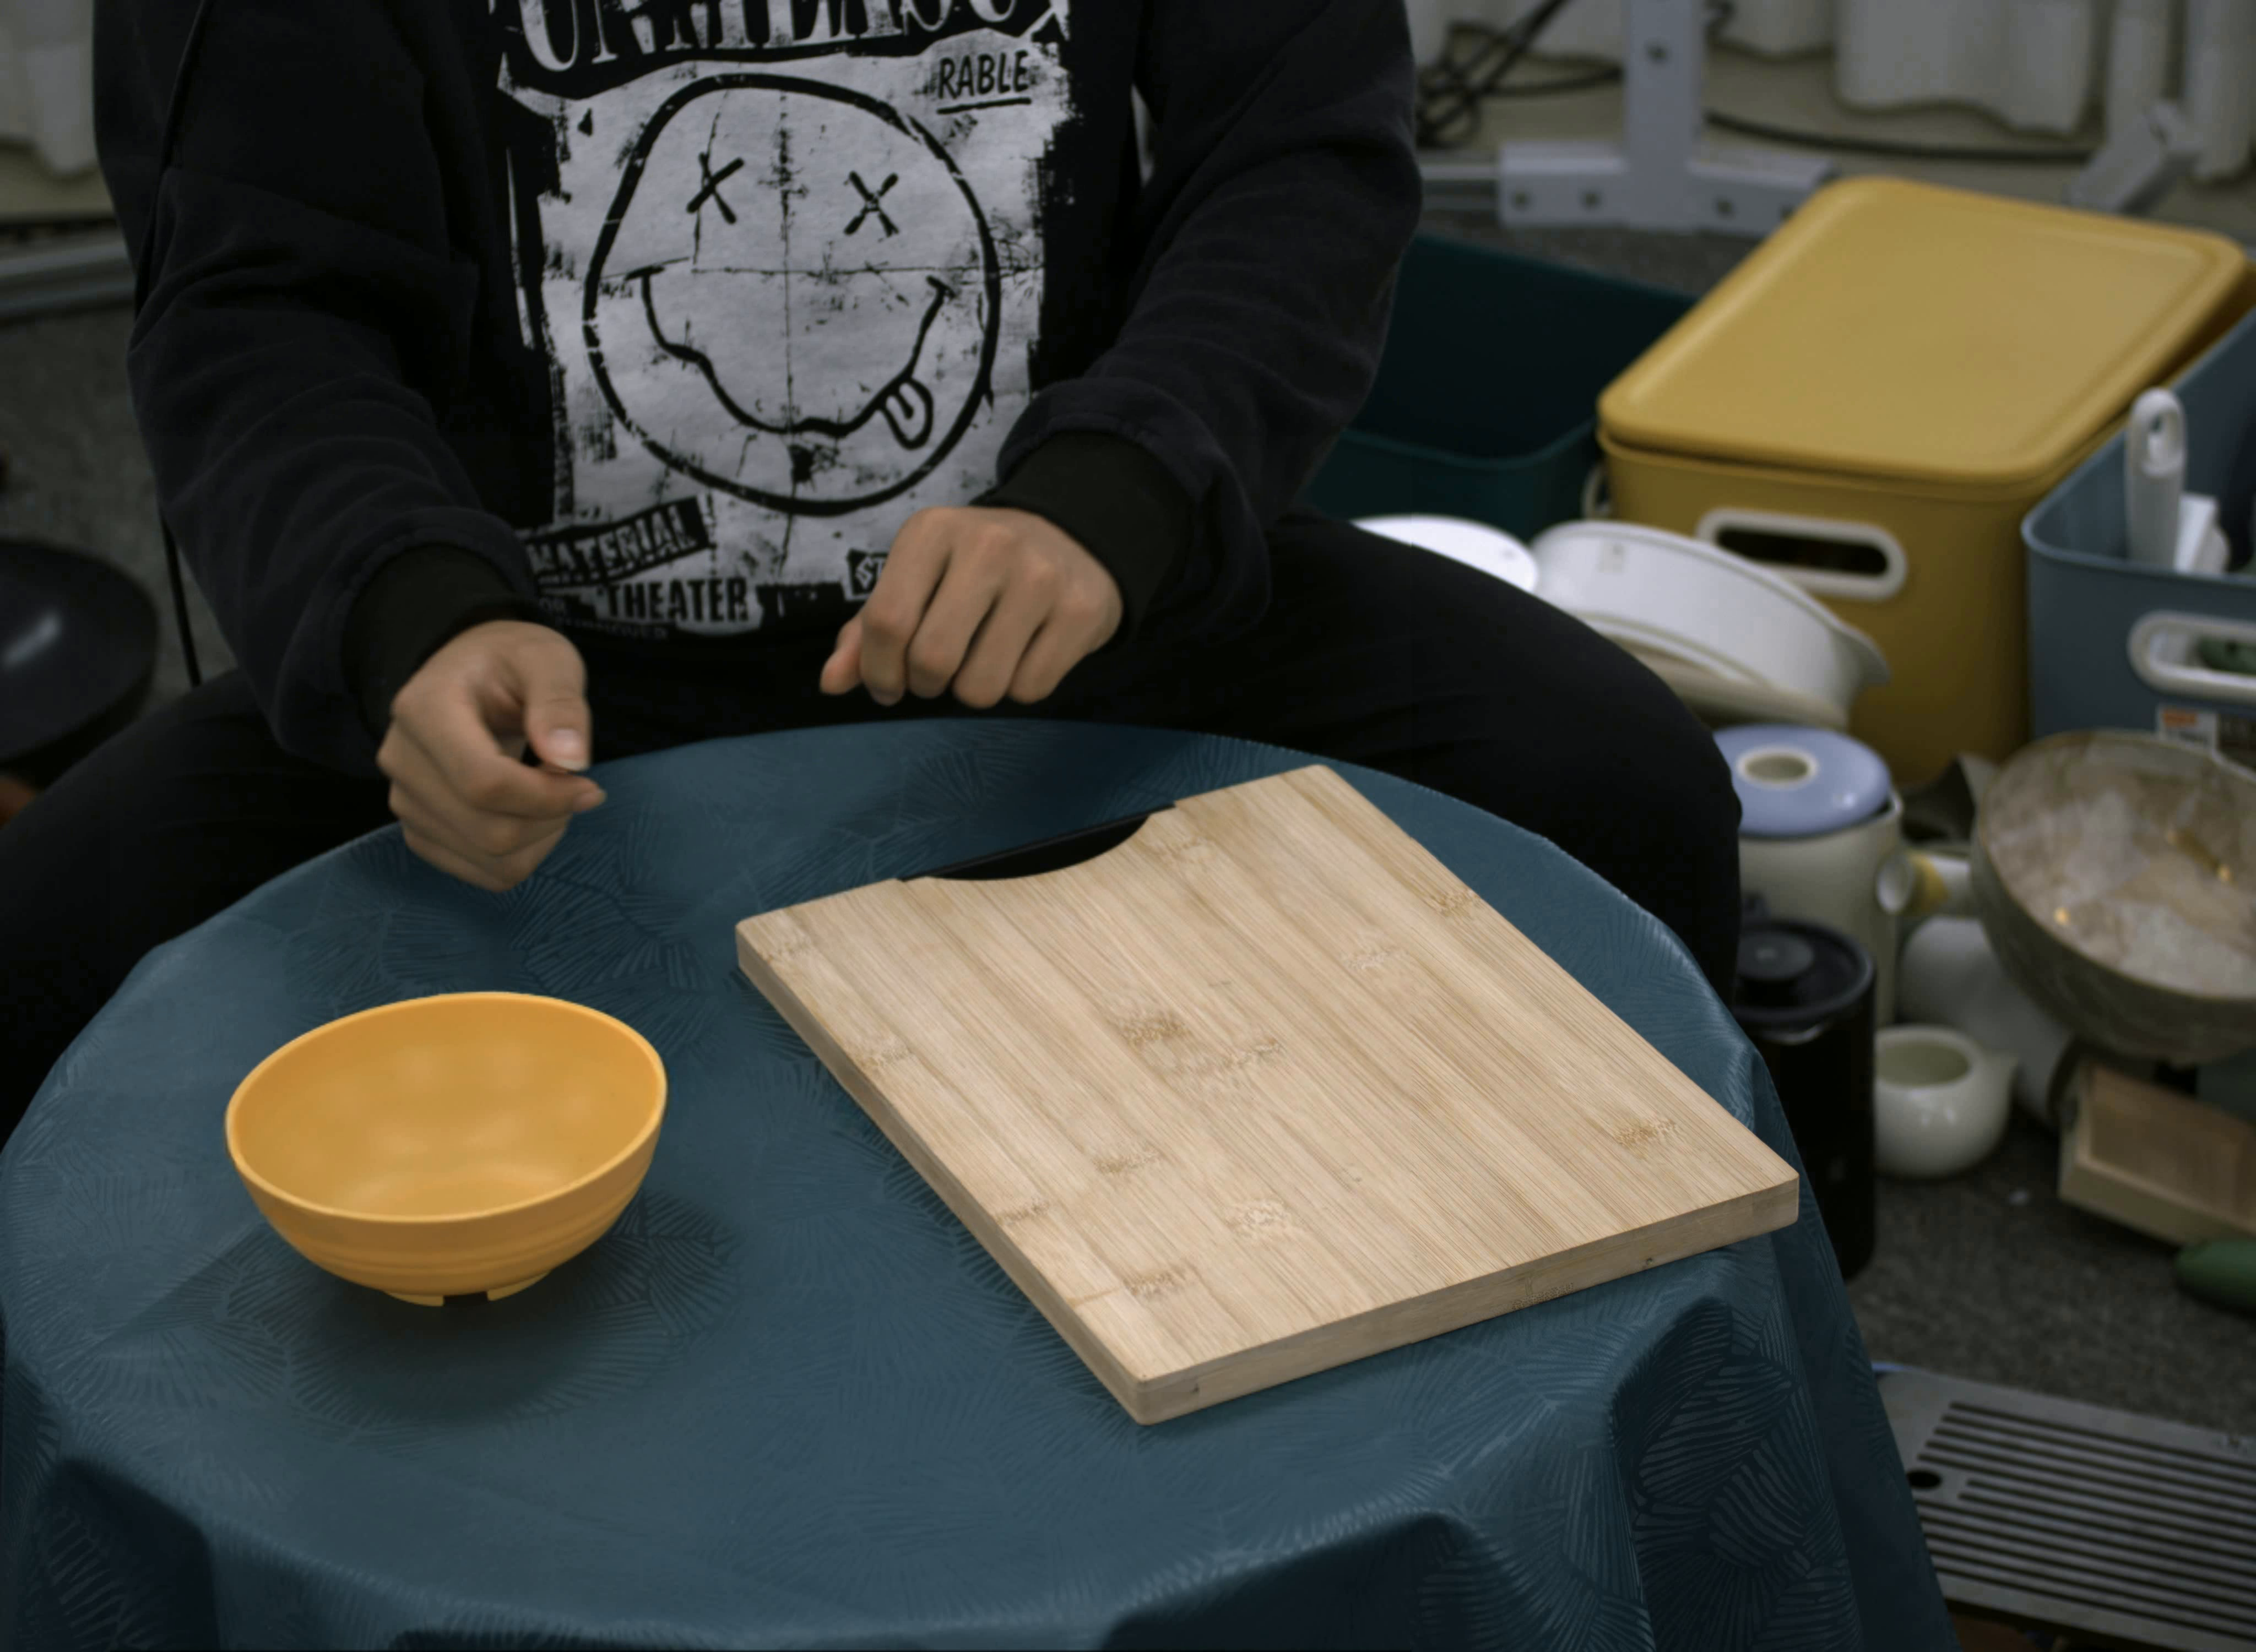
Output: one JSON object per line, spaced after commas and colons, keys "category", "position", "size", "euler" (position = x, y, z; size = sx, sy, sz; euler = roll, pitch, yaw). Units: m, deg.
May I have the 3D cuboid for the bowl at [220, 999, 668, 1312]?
{"category": "bowl", "position": [-0.221, 0.117, 1.832], "size": [0.144, 0.059, 0.147], "euler": [0, 26, 0]}

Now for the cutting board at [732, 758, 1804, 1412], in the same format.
{"category": "cutting board", "position": [0.038, 0.080, 1.920], "size": [0.252, 0.023, 0.350], "euler": [-15, 30, -22]}
